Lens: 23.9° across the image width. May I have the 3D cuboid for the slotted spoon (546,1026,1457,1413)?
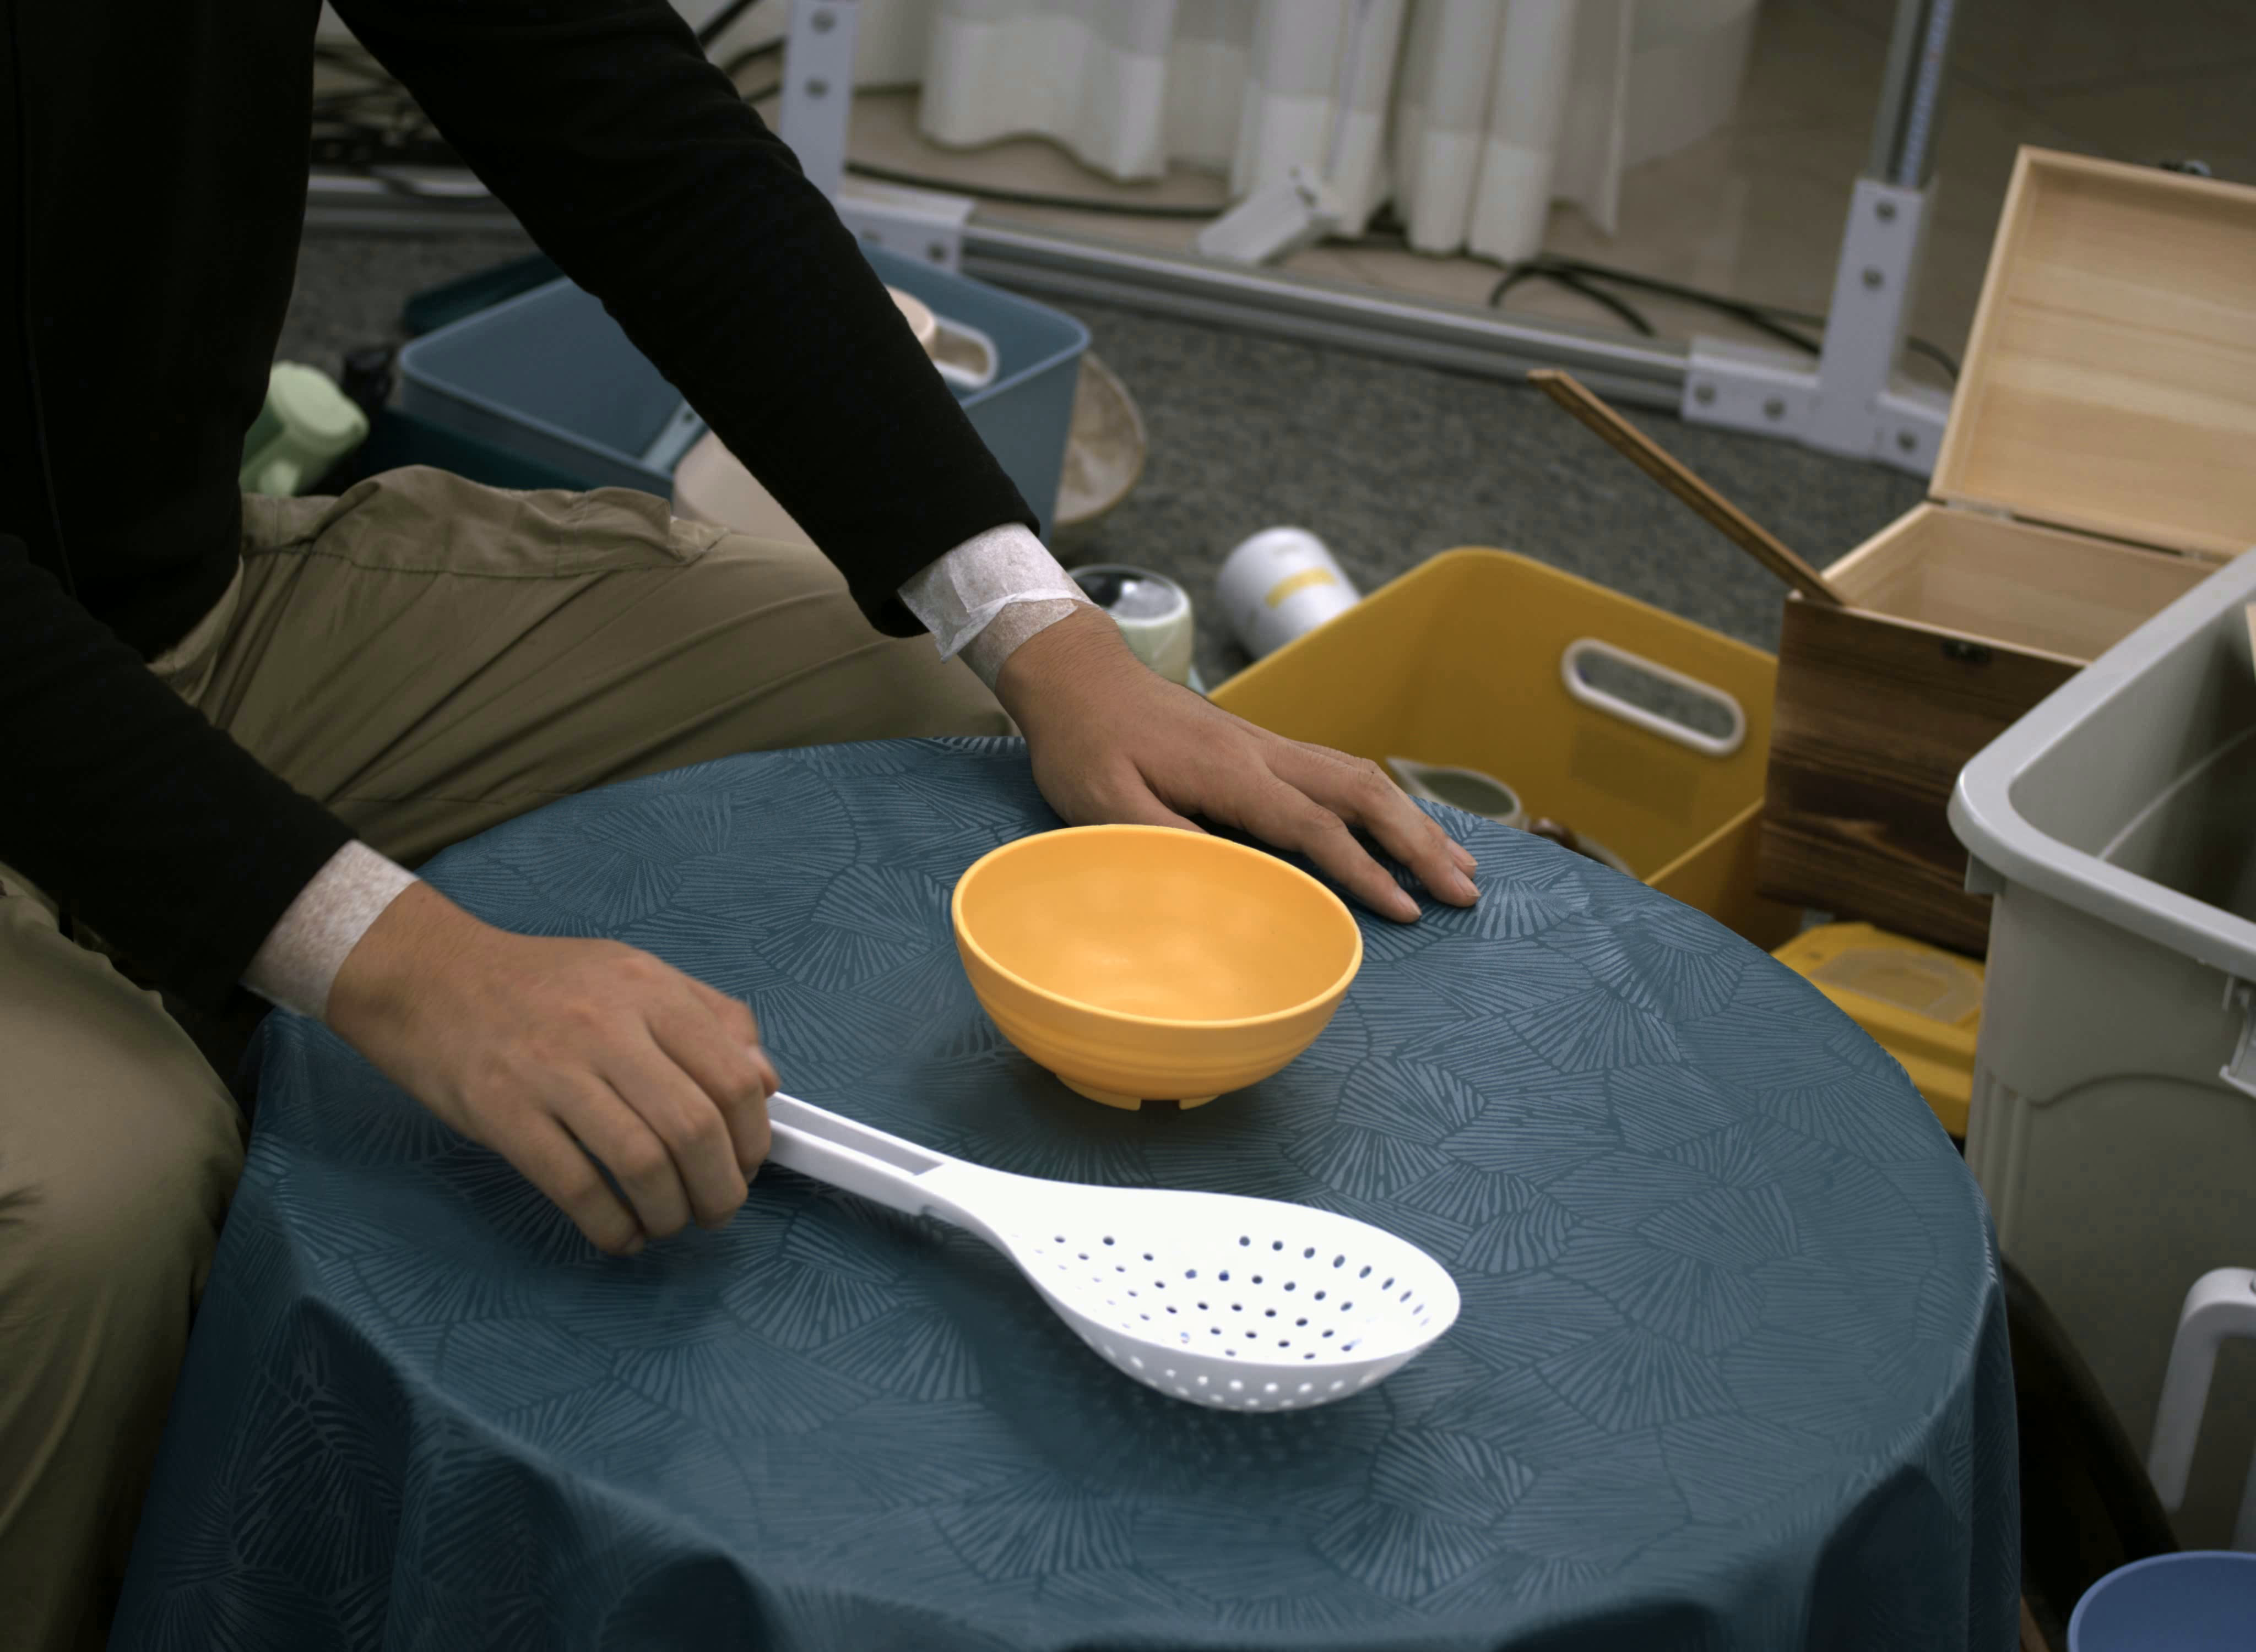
[{"bbox_3d":[-0.052,0.122,1.742,0.352,0.045,0.135,22,24,30],"label":"slotted spoon"}]

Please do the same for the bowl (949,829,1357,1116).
[{"bbox_3d":[0.005,0.060,1.867,0.145,0.060,0.146,7,26,-4],"label":"bowl"}]
